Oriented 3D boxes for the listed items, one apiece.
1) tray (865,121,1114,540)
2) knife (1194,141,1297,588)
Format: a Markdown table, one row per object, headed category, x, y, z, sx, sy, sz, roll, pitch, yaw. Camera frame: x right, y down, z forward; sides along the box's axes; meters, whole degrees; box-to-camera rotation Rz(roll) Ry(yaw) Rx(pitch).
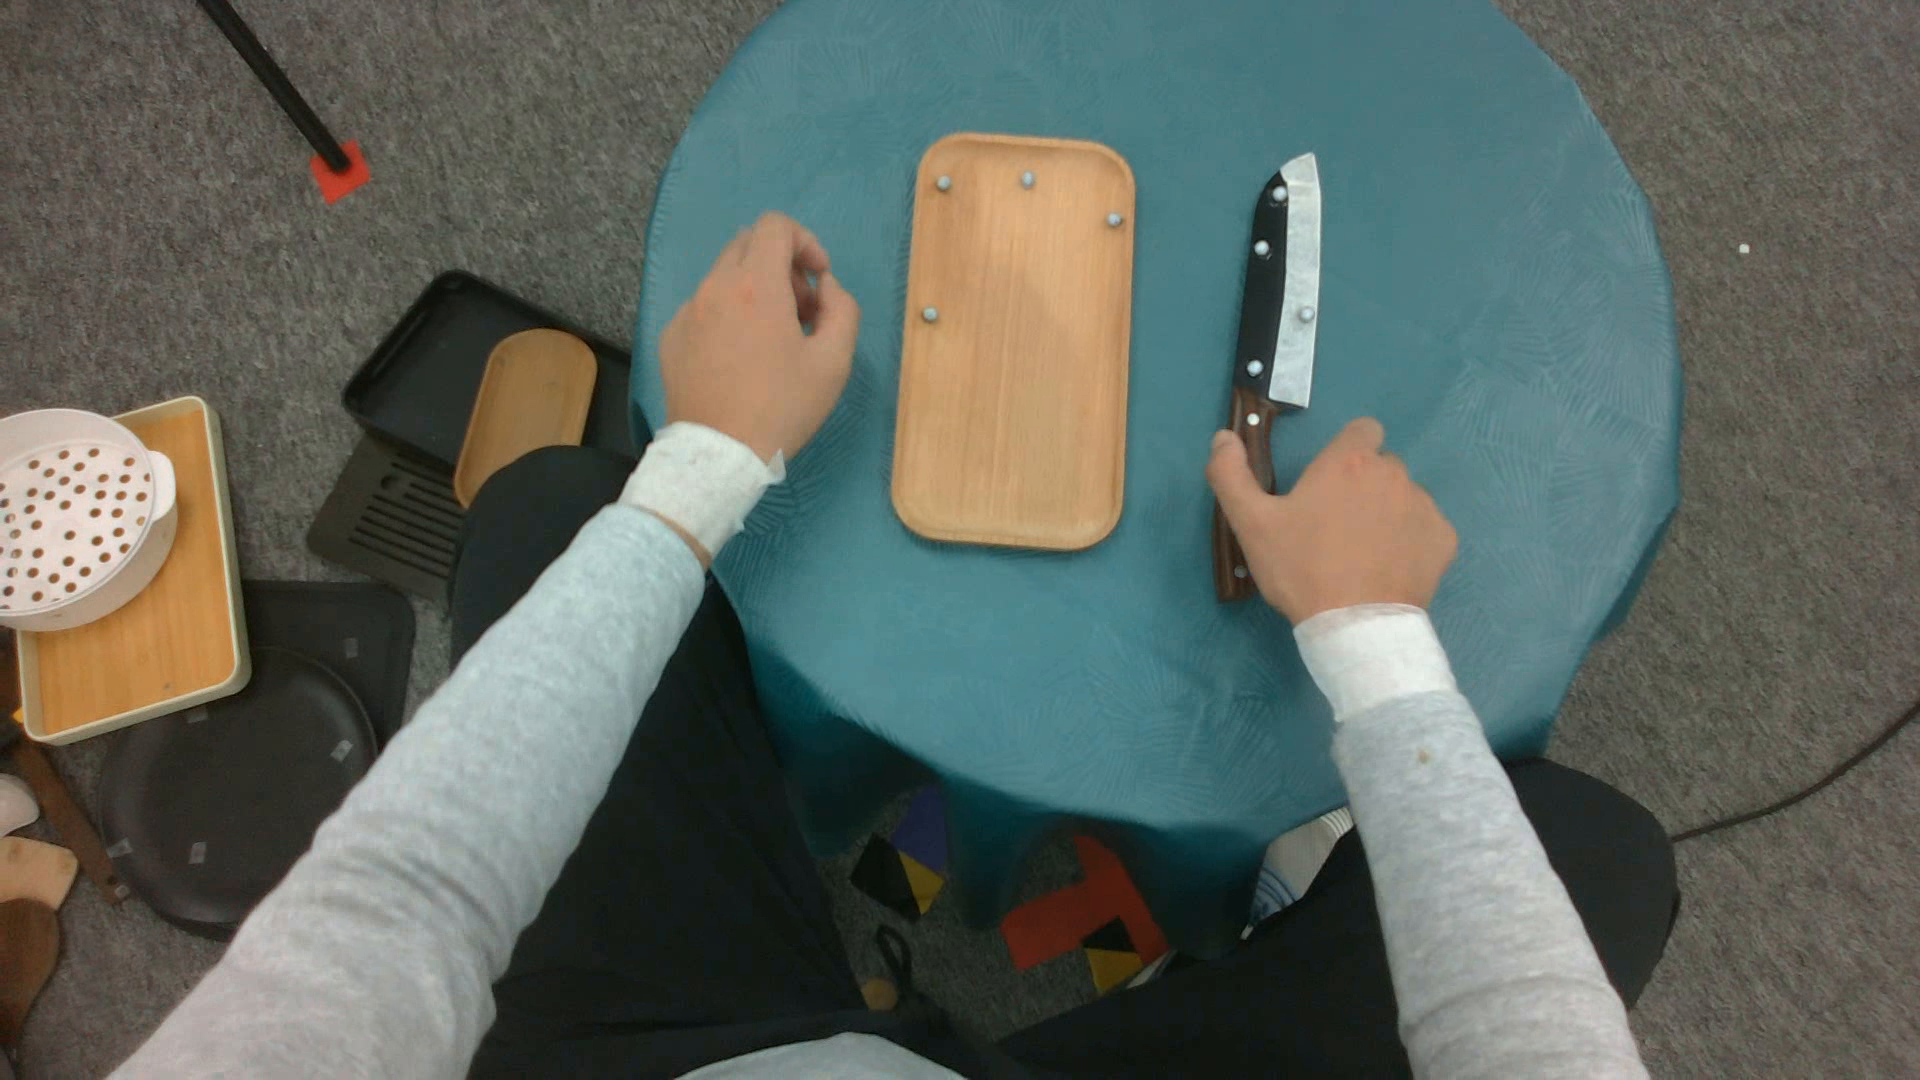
| category | x | y | z | sx | sy | sz | roll | pitch | yaw |
| --- | --- | --- | --- | --- | --- | --- | --- | --- | --- |
| tray | 0.019 | -0.121 | 0.776 | 0.130 | 0.023 | 0.251 | 4 | 73 | 1 |
| knife | 0.163 | -0.107 | 0.779 | 0.050 | 0.020 | 0.290 | 13 | 70 | -4 |
